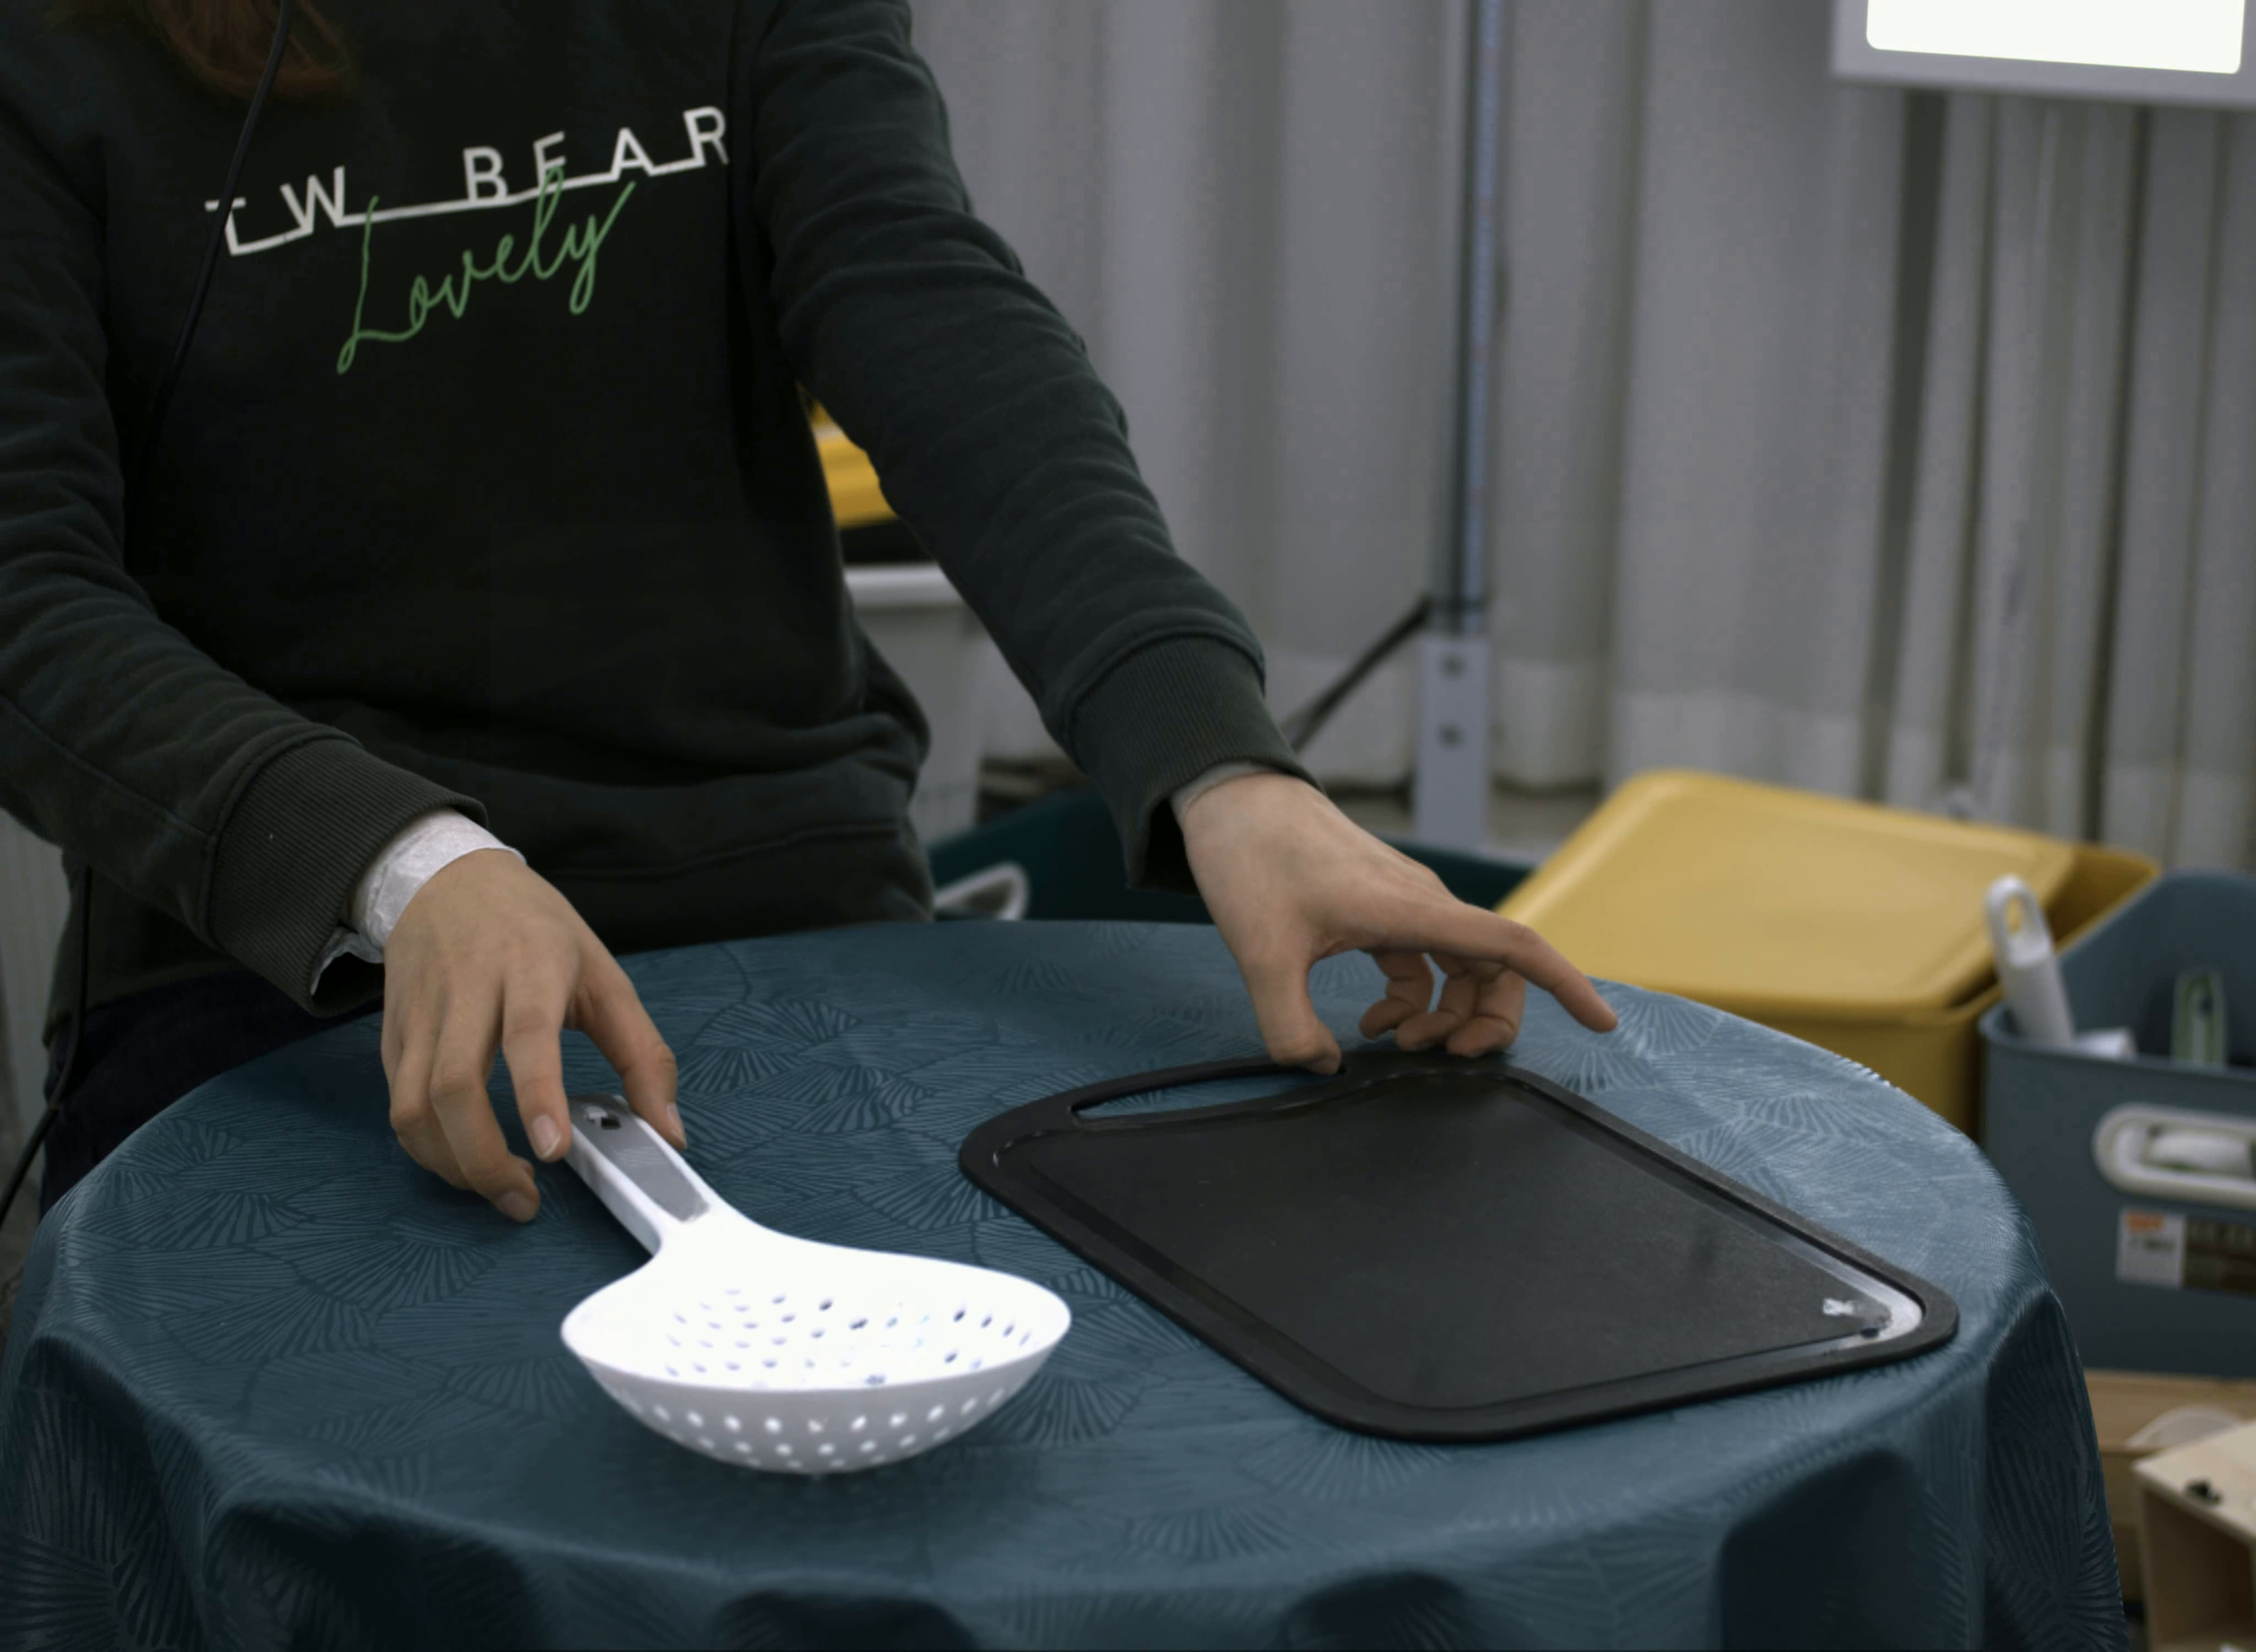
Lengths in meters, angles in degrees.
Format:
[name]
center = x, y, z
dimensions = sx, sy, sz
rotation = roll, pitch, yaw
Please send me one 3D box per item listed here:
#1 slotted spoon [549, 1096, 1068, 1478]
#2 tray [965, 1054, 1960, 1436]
[slotted spoon]
center = -0.118, 0.122, 1.505
dimensions = 0.136, 0.046, 0.346
rotation = -2, 15, -18
[tray]
center = 0.090, 0.119, 1.596
dimensions = 0.212, 0.010, 0.321
rotation = -7, 17, -26
